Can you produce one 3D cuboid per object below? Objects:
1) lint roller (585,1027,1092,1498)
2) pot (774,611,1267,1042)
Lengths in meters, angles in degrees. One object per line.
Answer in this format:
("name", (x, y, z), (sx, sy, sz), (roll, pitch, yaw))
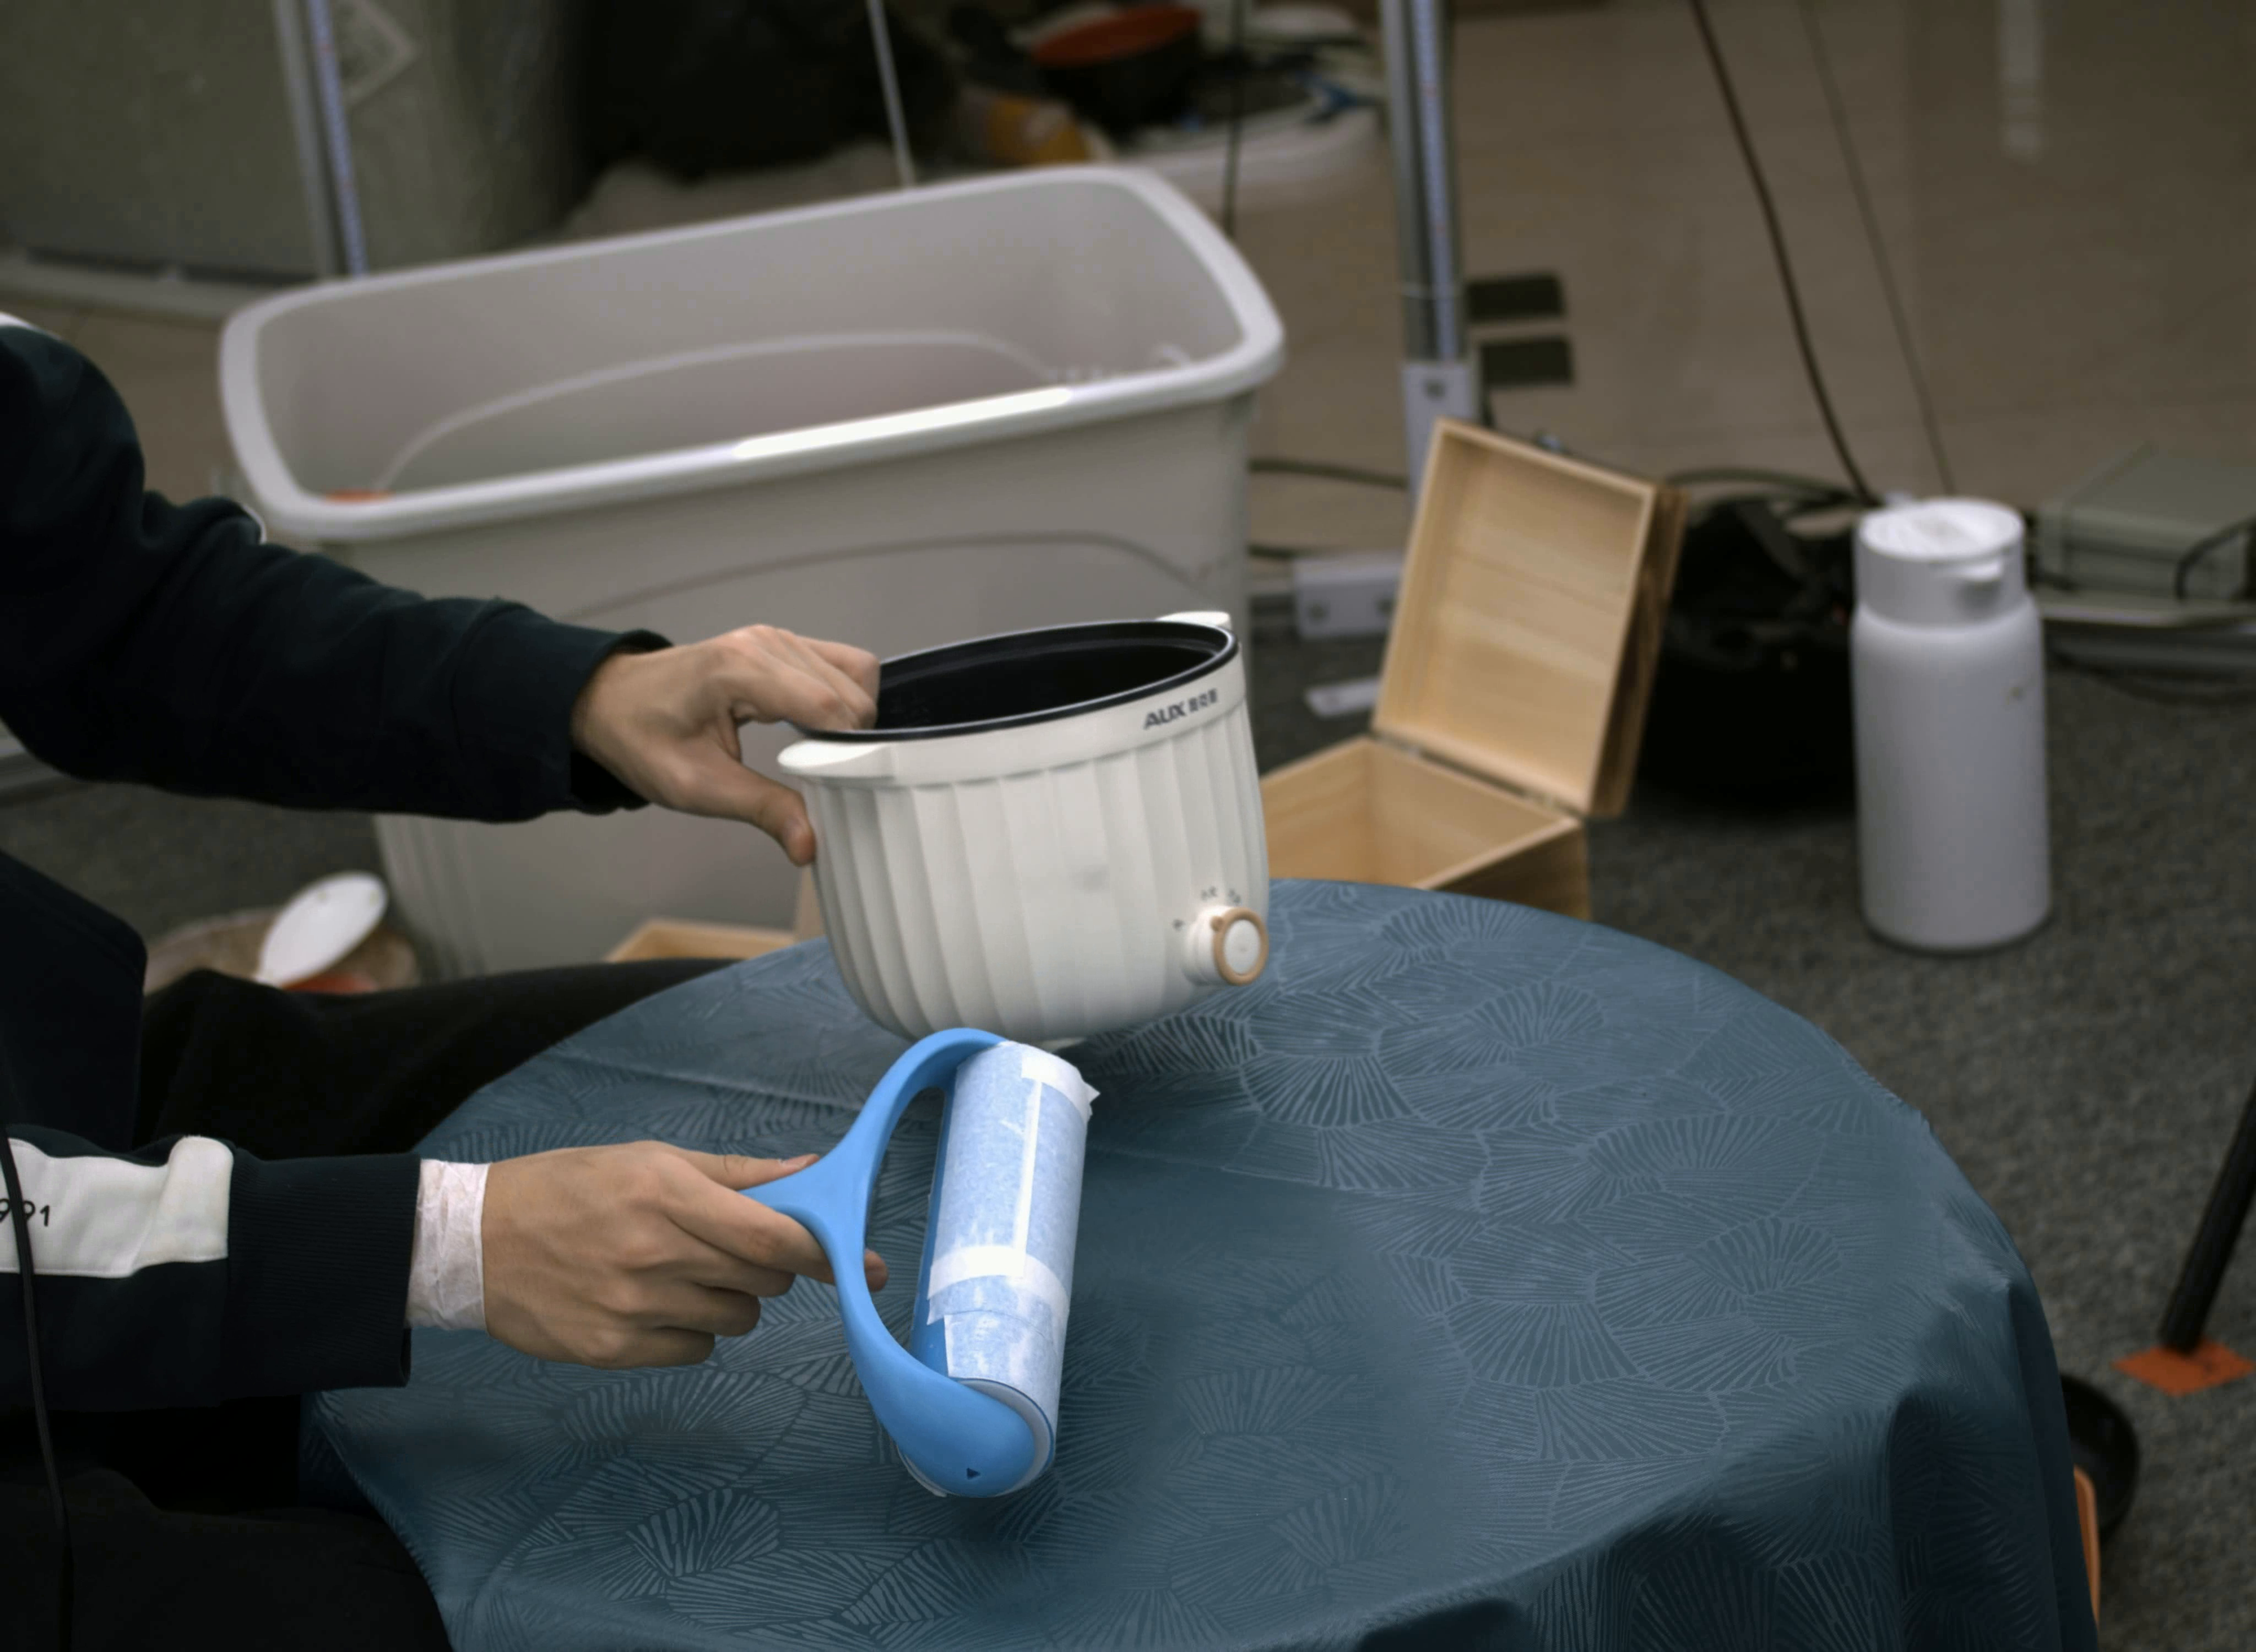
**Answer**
("lint roller", (-0.102, 0.153, 1.988), (0.180, 0.069, 0.225), (-1, 36, 0))
("pot", (-0.032, 0.004, 2.208), (0.190, 0.144, 0.238), (-1, 16, 44))
